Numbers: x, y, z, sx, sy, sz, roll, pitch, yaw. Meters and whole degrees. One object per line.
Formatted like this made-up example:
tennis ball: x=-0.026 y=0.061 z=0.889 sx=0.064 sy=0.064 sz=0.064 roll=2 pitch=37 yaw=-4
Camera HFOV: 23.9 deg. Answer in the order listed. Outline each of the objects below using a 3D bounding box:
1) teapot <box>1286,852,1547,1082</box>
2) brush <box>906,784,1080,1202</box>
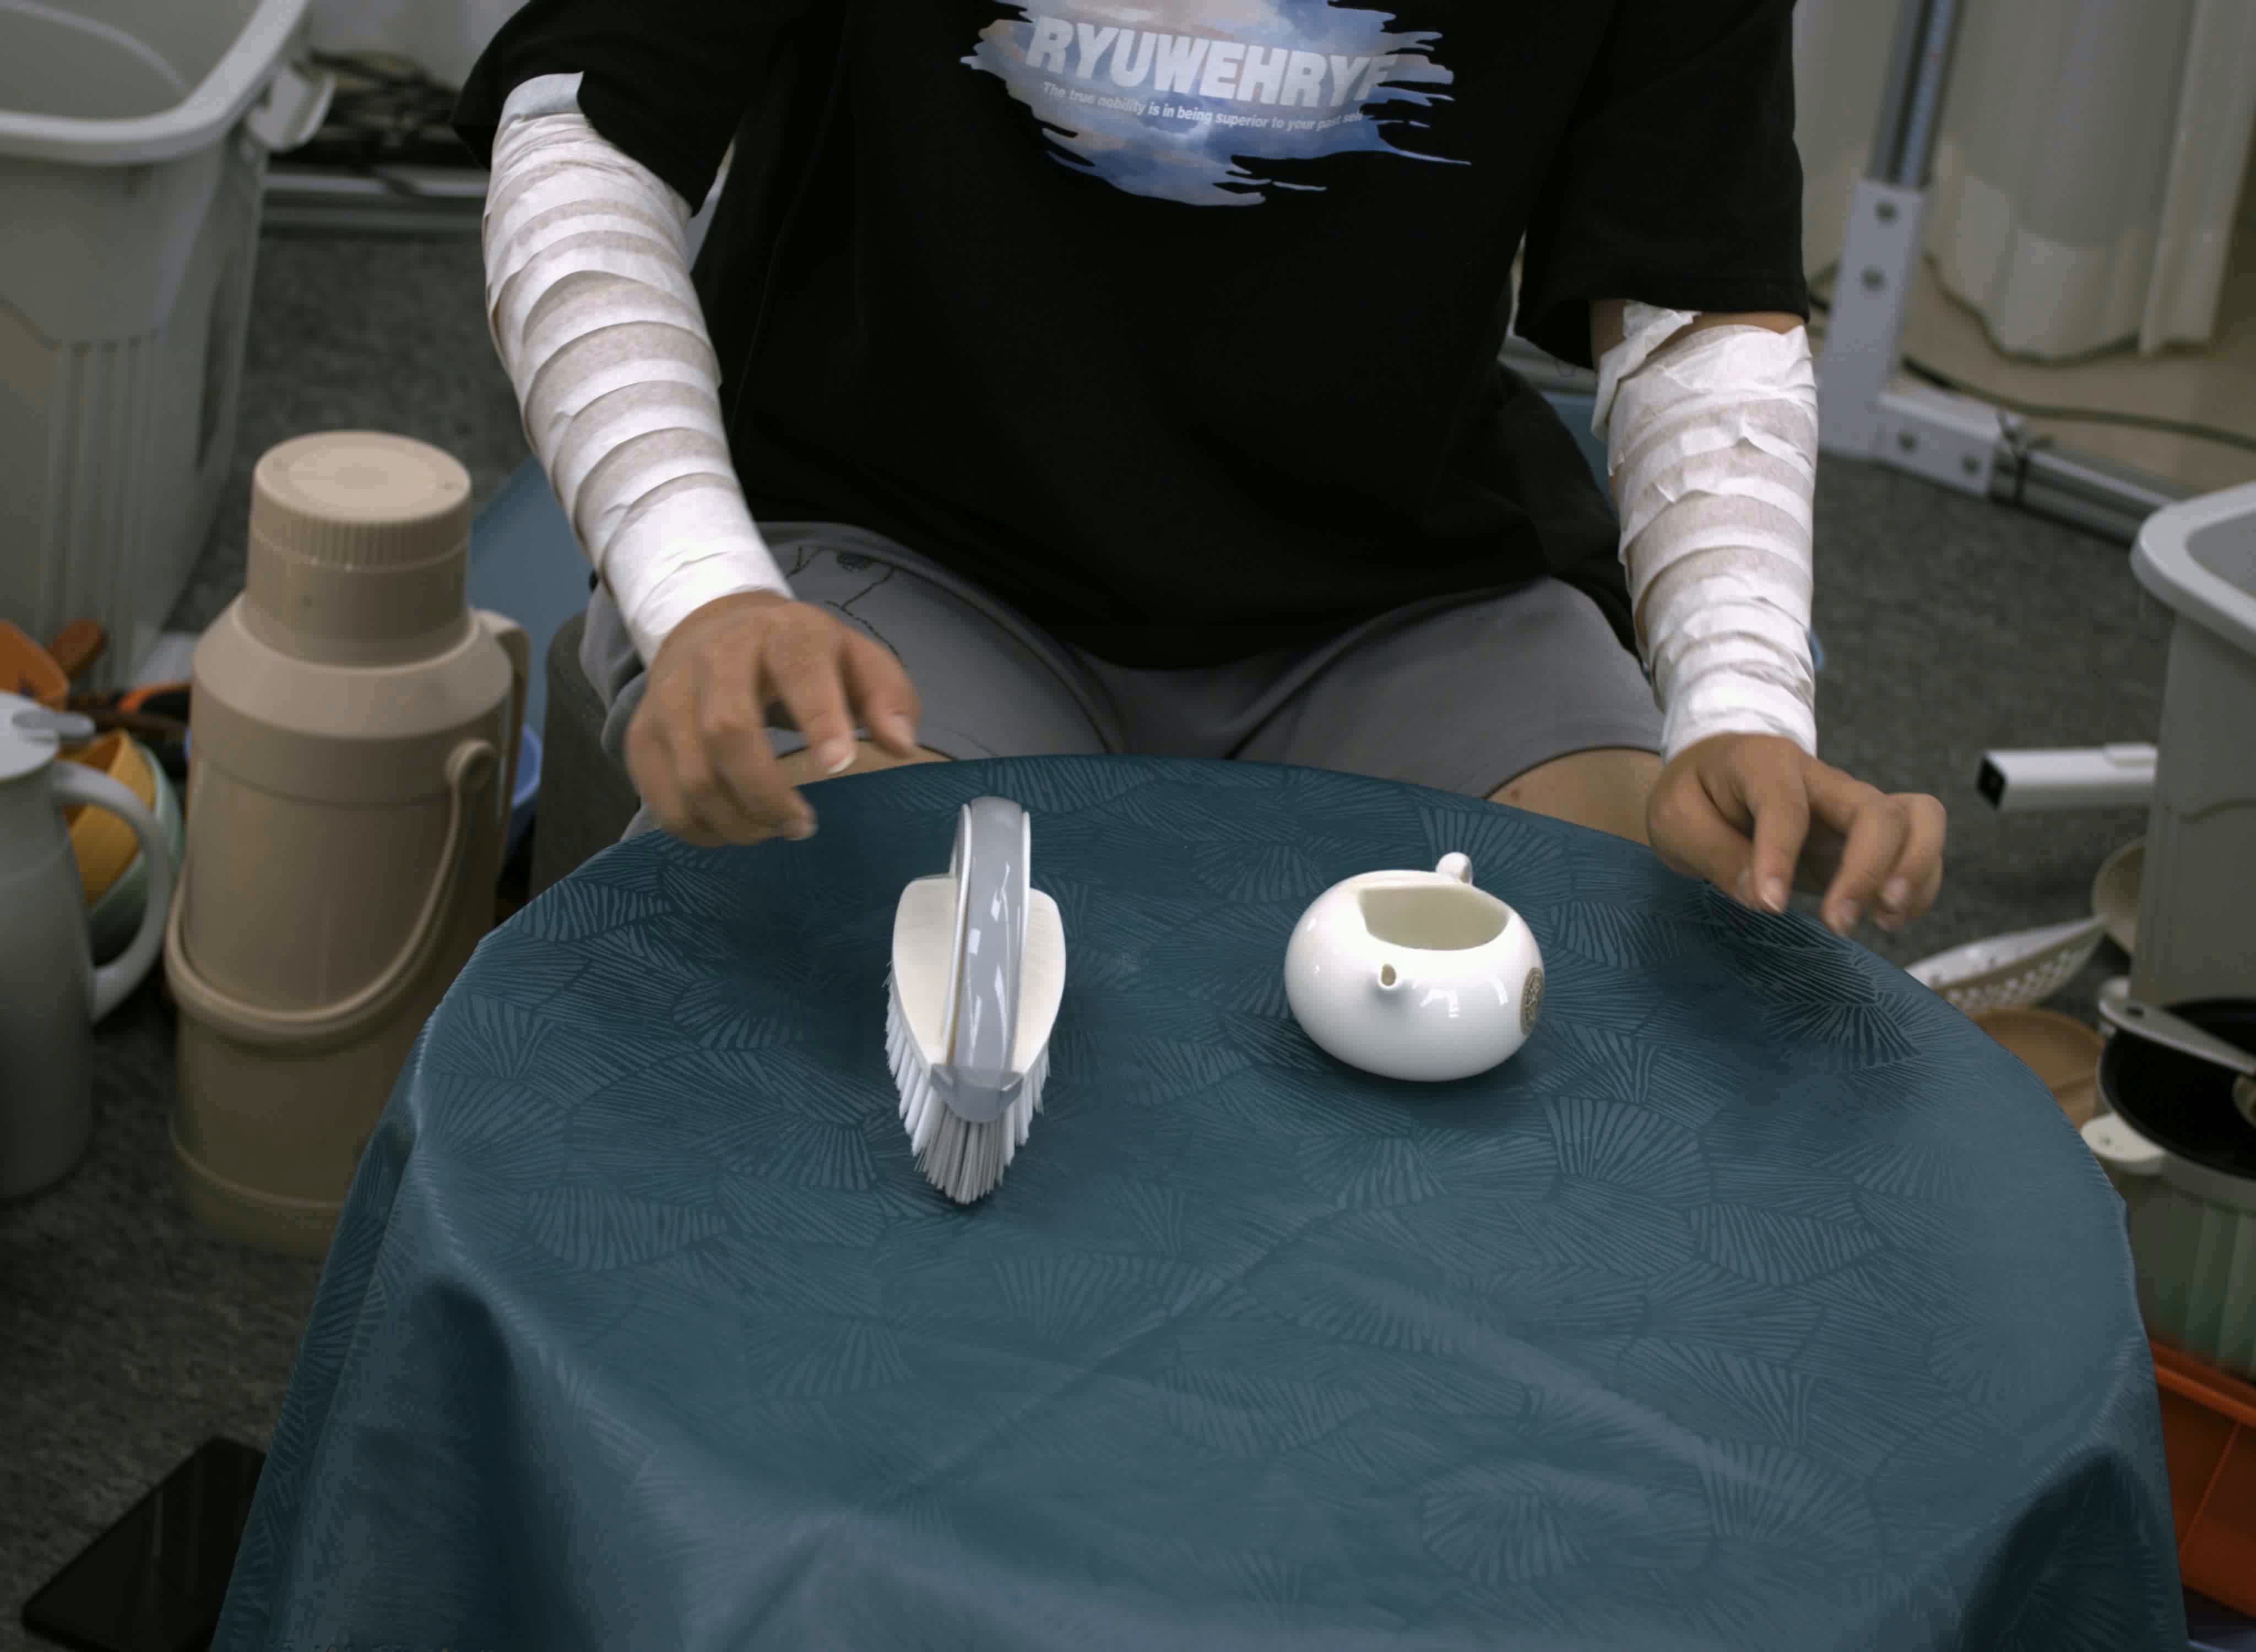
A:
teapot: x=0.106 y=0.050 z=1.914 sx=0.093 sy=0.056 sz=0.127 roll=8 pitch=25 yaw=11
brush: x=-0.047 y=0.049 z=1.839 sx=0.061 sy=0.094 sz=0.176 roll=4 pitch=28 yaw=-1
